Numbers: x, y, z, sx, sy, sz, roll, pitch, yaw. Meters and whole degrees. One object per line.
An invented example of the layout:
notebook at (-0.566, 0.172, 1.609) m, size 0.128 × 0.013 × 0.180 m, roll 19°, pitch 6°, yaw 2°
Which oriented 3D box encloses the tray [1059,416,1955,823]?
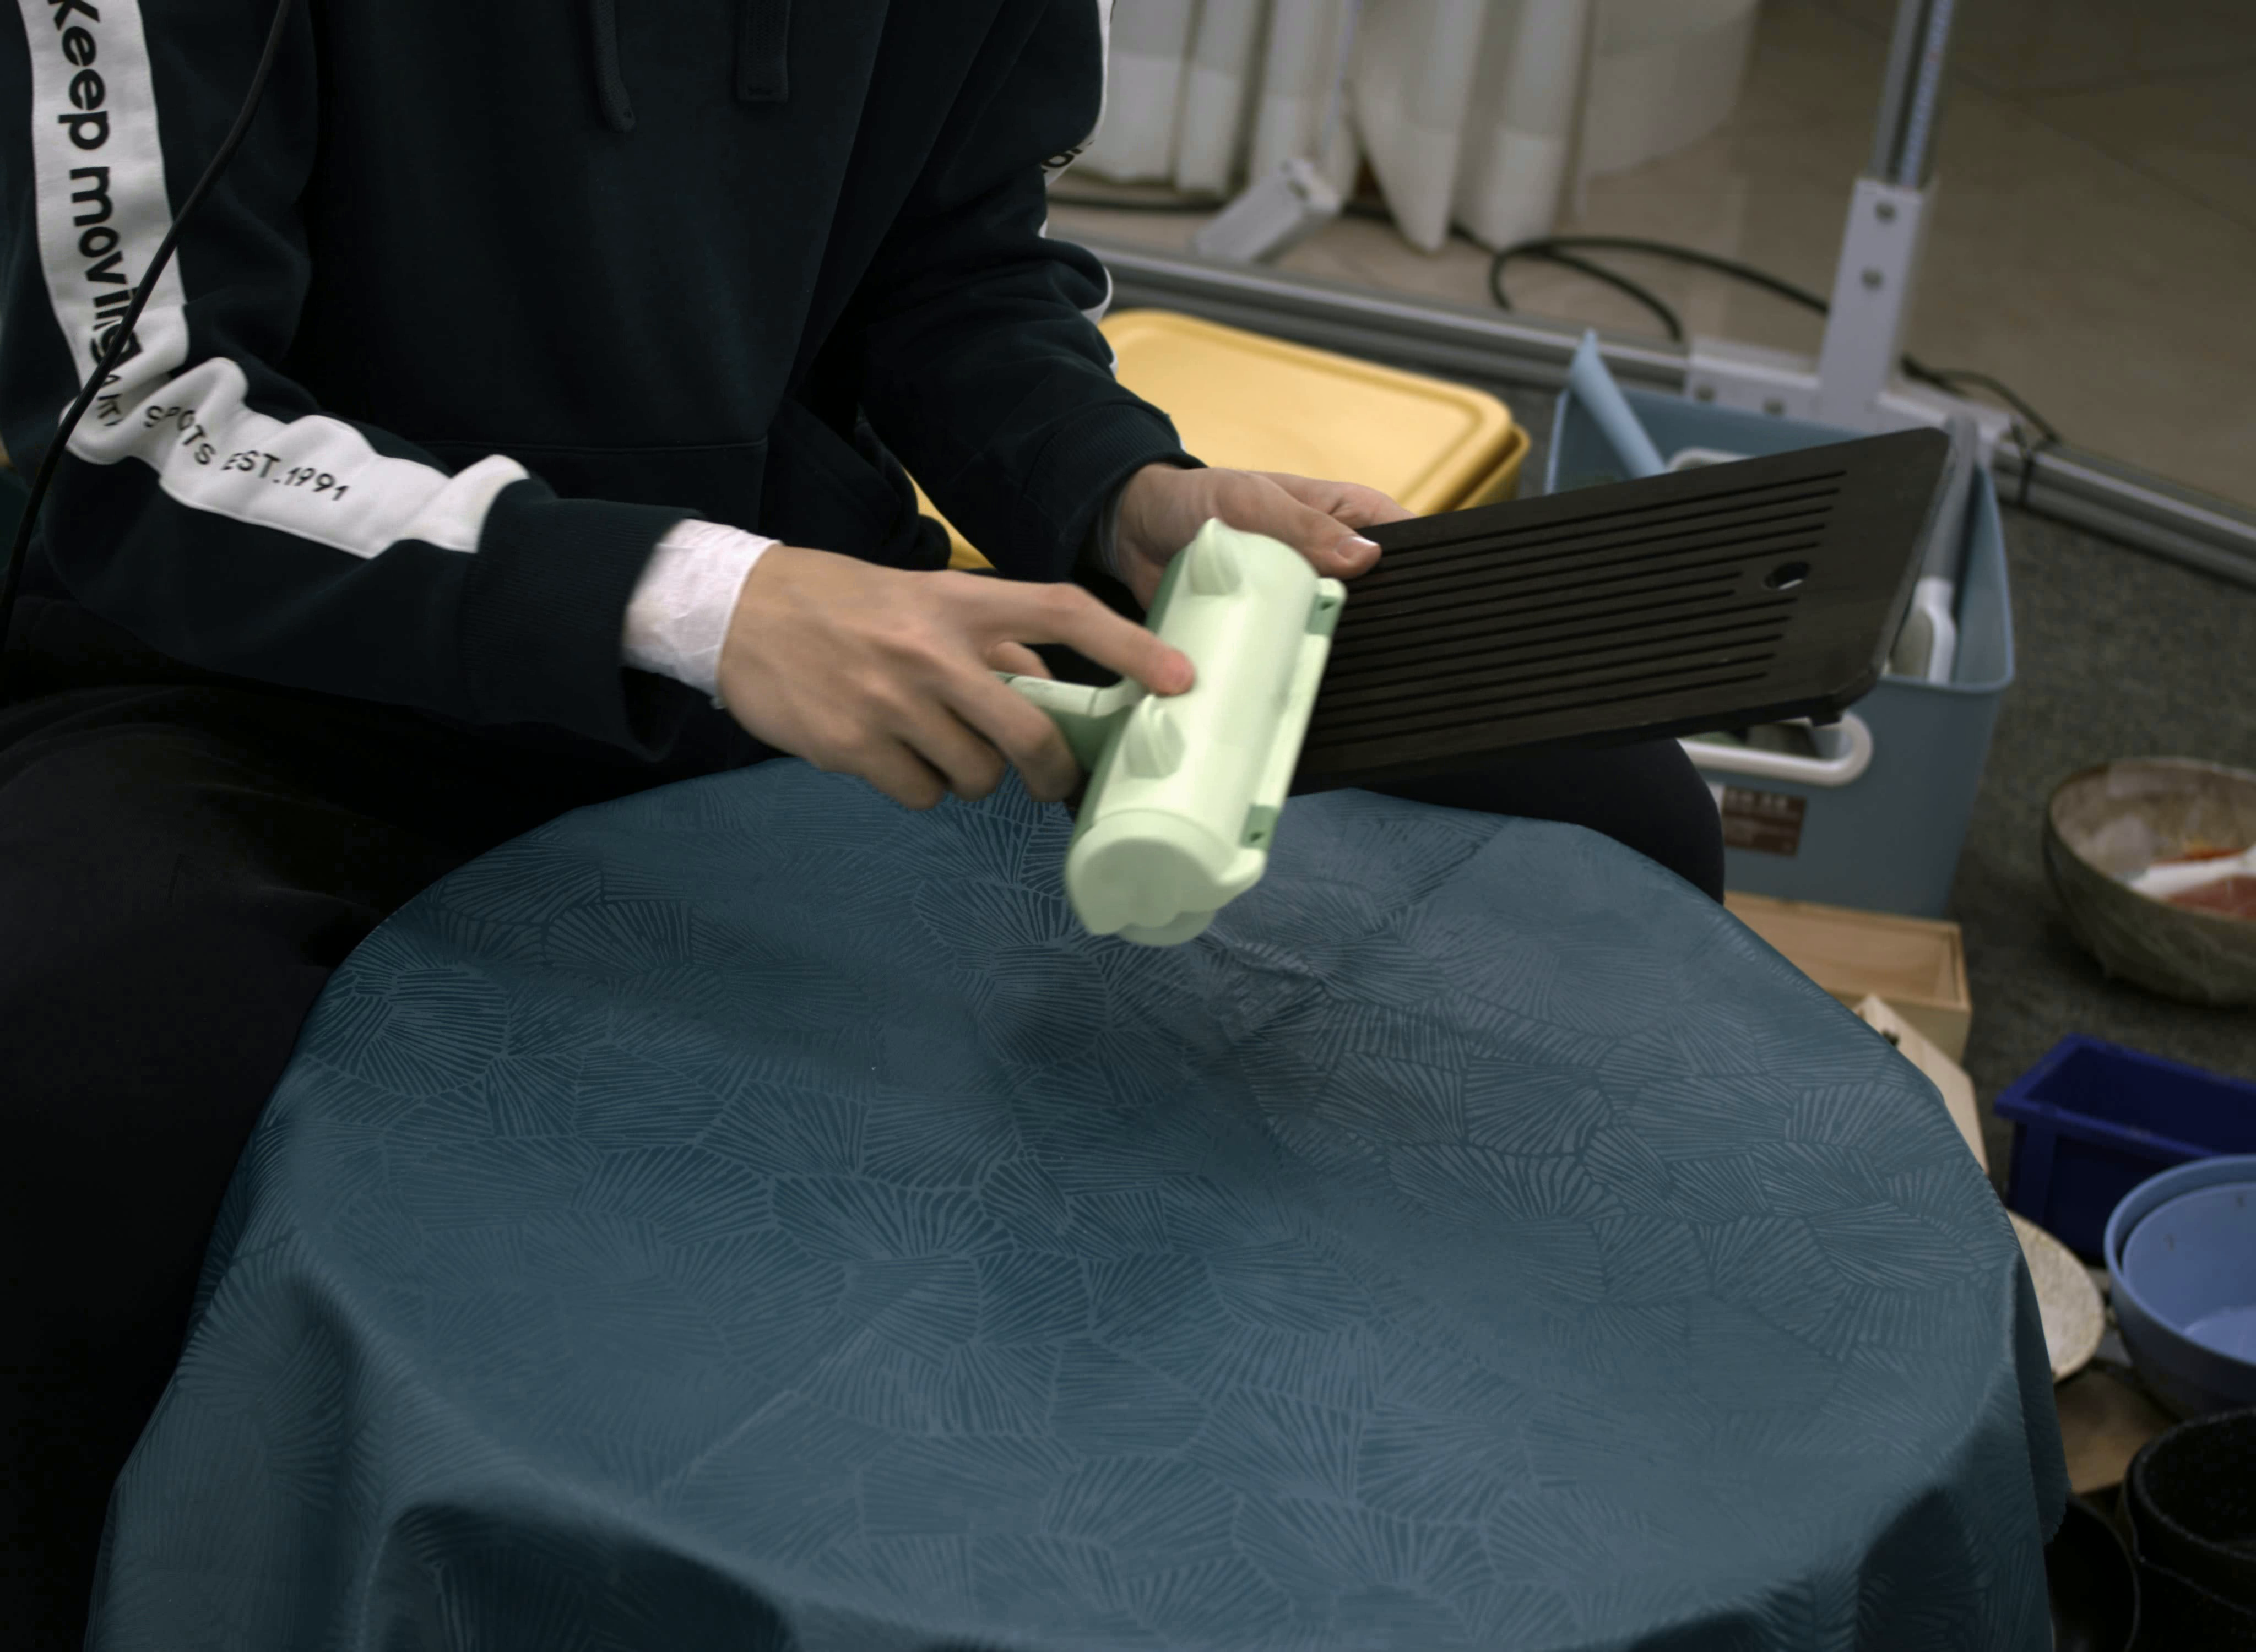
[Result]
tray at (0.133, -0.068, 1.867) m, size 0.306 × 0.018 × 0.171 m, roll -10°, pitch 31°, yaw 28°

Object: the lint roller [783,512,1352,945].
lint roller at (-0.027, -0.050, 1.816) m, size 0.183 × 0.082 × 0.199 m, roll 11°, pitch 35°, yaw 7°
